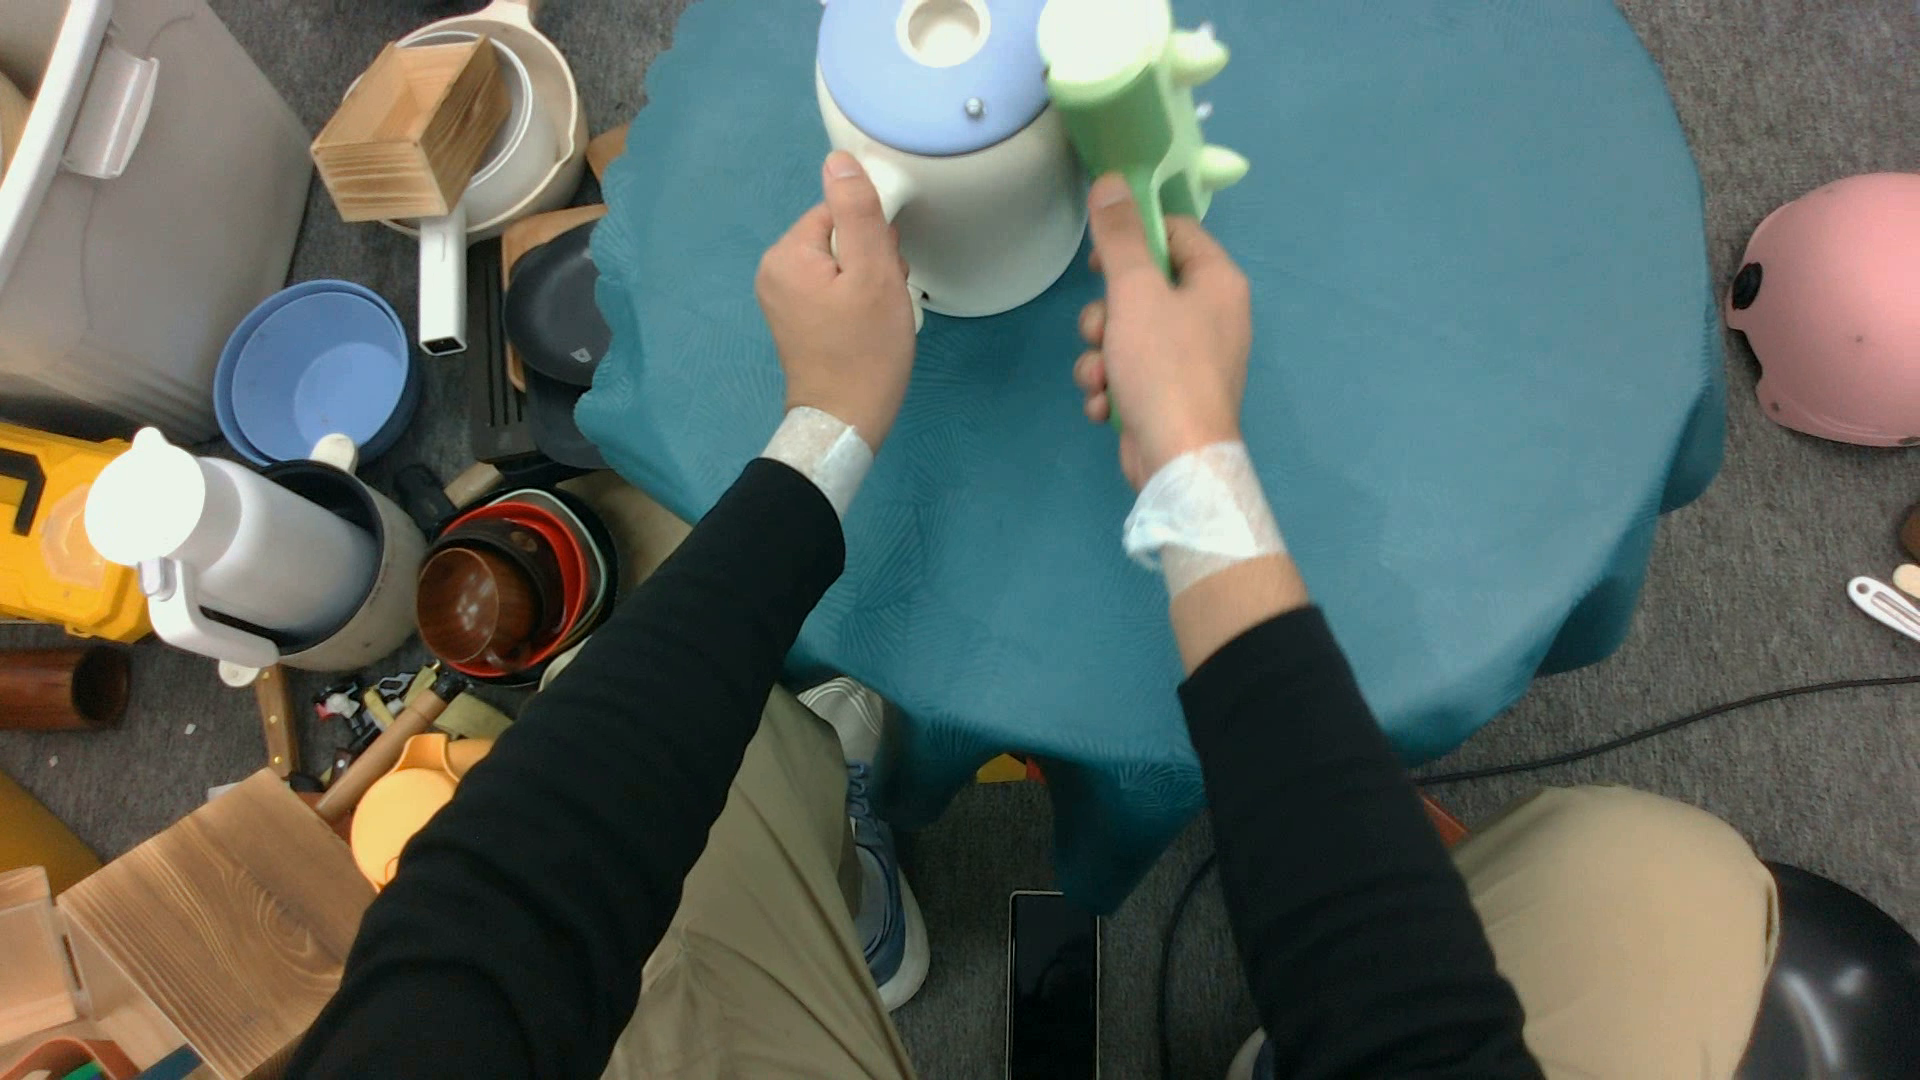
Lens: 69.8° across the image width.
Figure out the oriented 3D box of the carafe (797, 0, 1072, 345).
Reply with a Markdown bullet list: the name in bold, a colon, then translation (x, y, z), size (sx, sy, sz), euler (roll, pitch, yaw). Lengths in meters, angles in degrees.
- **carafe**: translation (-0.019, -0.193, 0.707), size (0.132, 0.182, 0.191), euler (24, 80, 11)

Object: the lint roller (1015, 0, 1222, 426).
- **lint roller**: translation (0.086, -0.148, 0.642), size (0.082, 0.198, 0.183), euler (-12, 80, 14)
